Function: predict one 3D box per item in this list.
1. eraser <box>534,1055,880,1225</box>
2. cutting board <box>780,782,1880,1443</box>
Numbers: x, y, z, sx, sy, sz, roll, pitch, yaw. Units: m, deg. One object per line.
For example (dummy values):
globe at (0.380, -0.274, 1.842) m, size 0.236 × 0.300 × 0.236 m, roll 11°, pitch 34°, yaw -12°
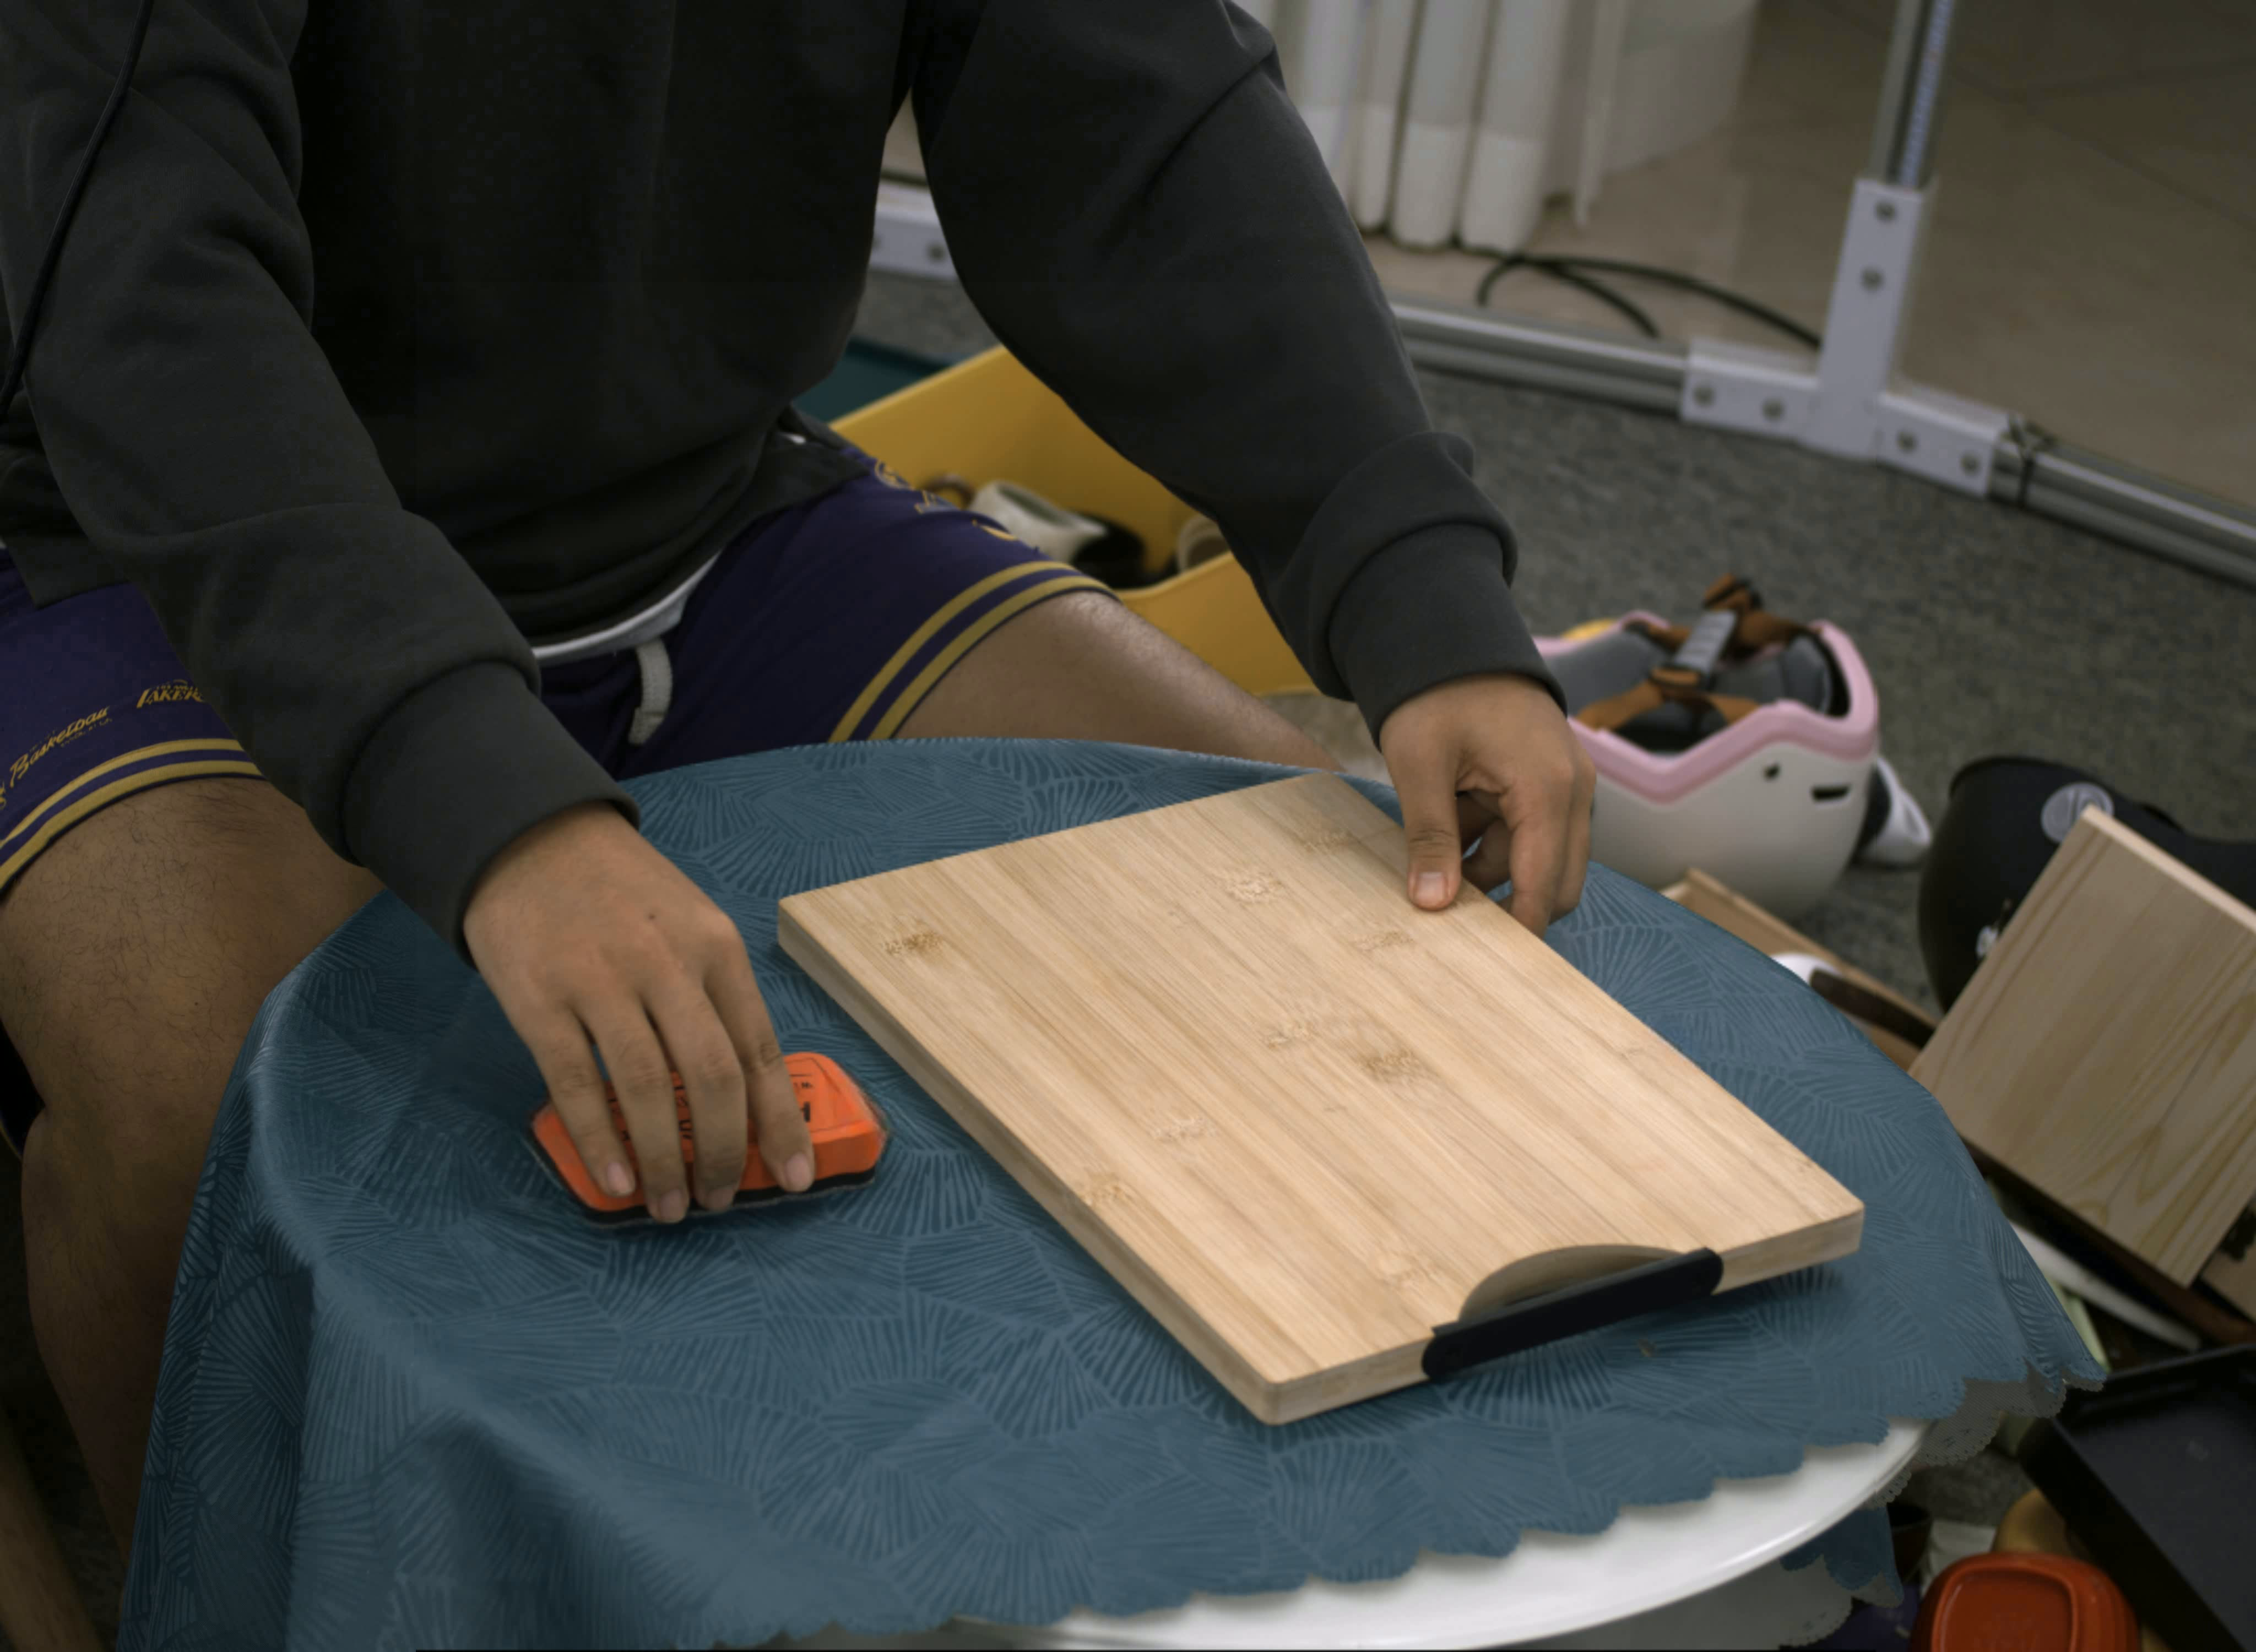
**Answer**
eraser at (-0.141, 0.105, 1.781) m, size 0.107 × 0.023 × 0.059 m, roll -6°, pitch 29°, yaw -24°
cutting board at (0.063, 0.088, 1.853) m, size 0.249 × 0.023 × 0.352 m, roll -14°, pitch 33°, yaw -28°
